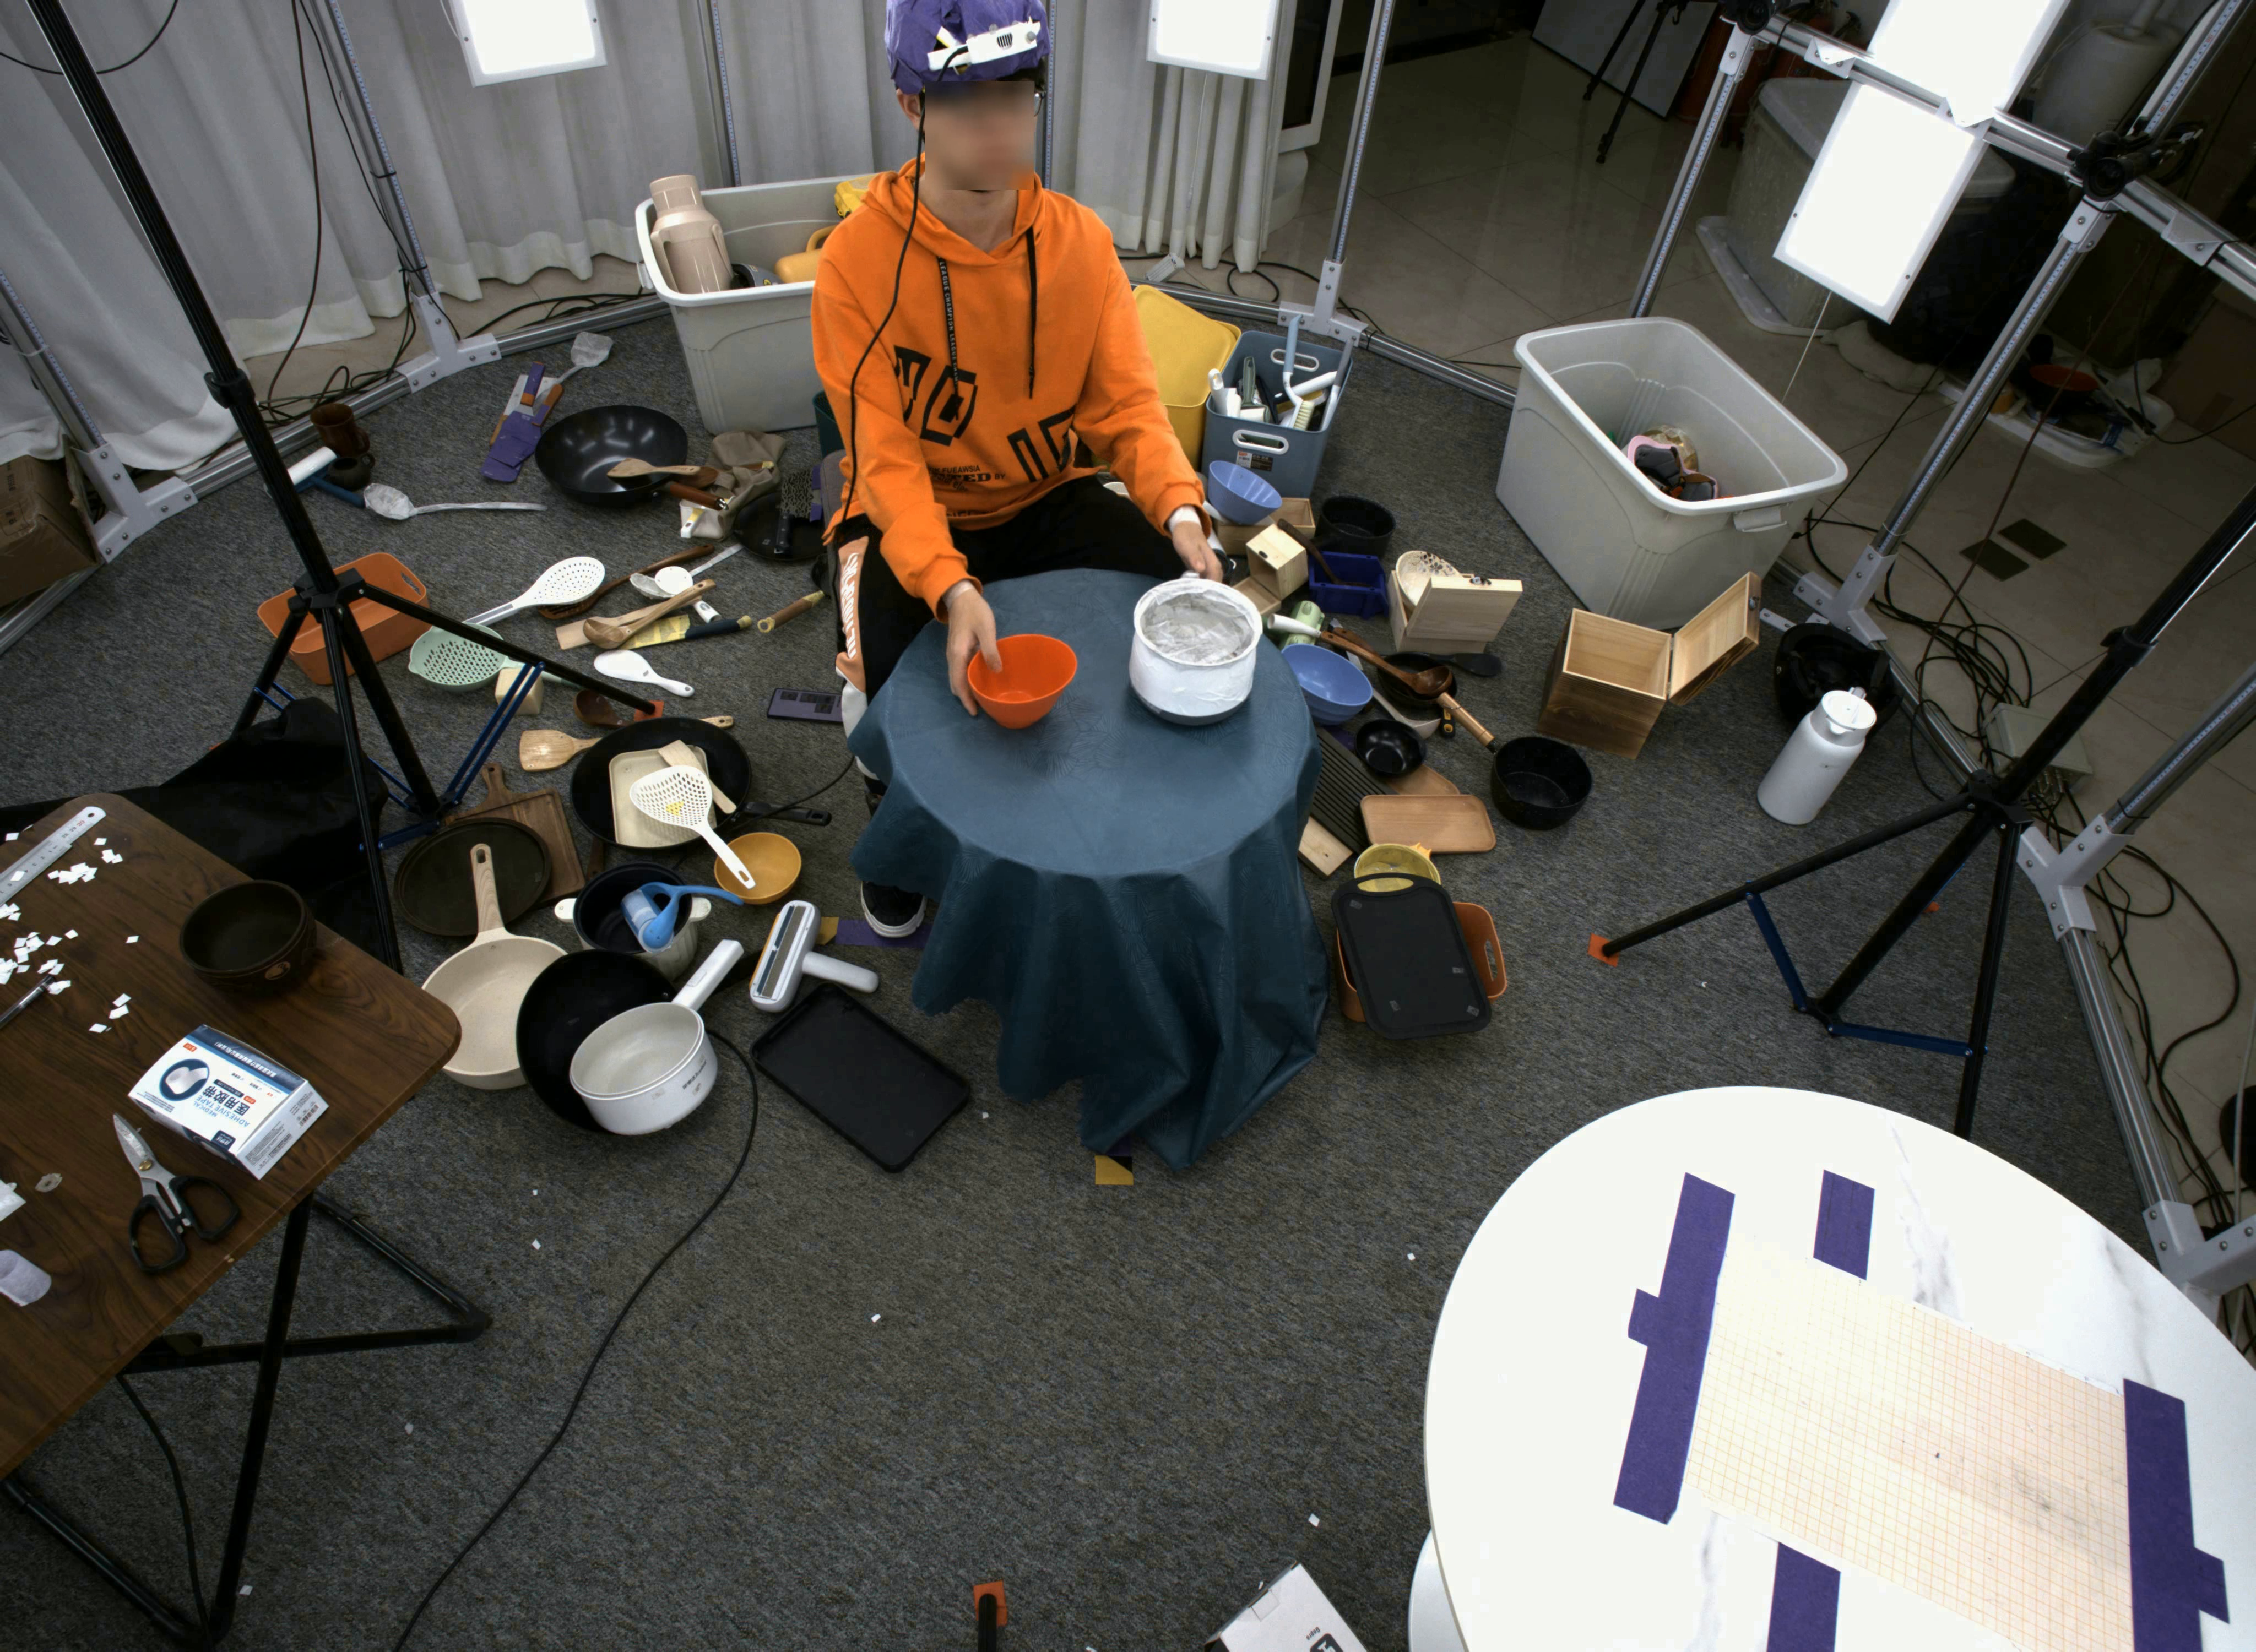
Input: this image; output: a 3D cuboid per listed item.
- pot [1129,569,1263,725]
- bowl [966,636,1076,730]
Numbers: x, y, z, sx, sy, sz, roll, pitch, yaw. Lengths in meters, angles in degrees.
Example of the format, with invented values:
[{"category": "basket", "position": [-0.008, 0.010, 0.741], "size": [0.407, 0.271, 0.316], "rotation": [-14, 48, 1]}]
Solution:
[{"category": "pot", "position": [0.089, -0.261, 1.813], "size": [0.178, 0.133, 0.239], "rotation": [-1, 50, -5]}, {"category": "bowl", "position": [-0.146, -0.186, 1.758], "size": [0.148, 0.102, 0.152], "rotation": [1, 49, -2]}]
